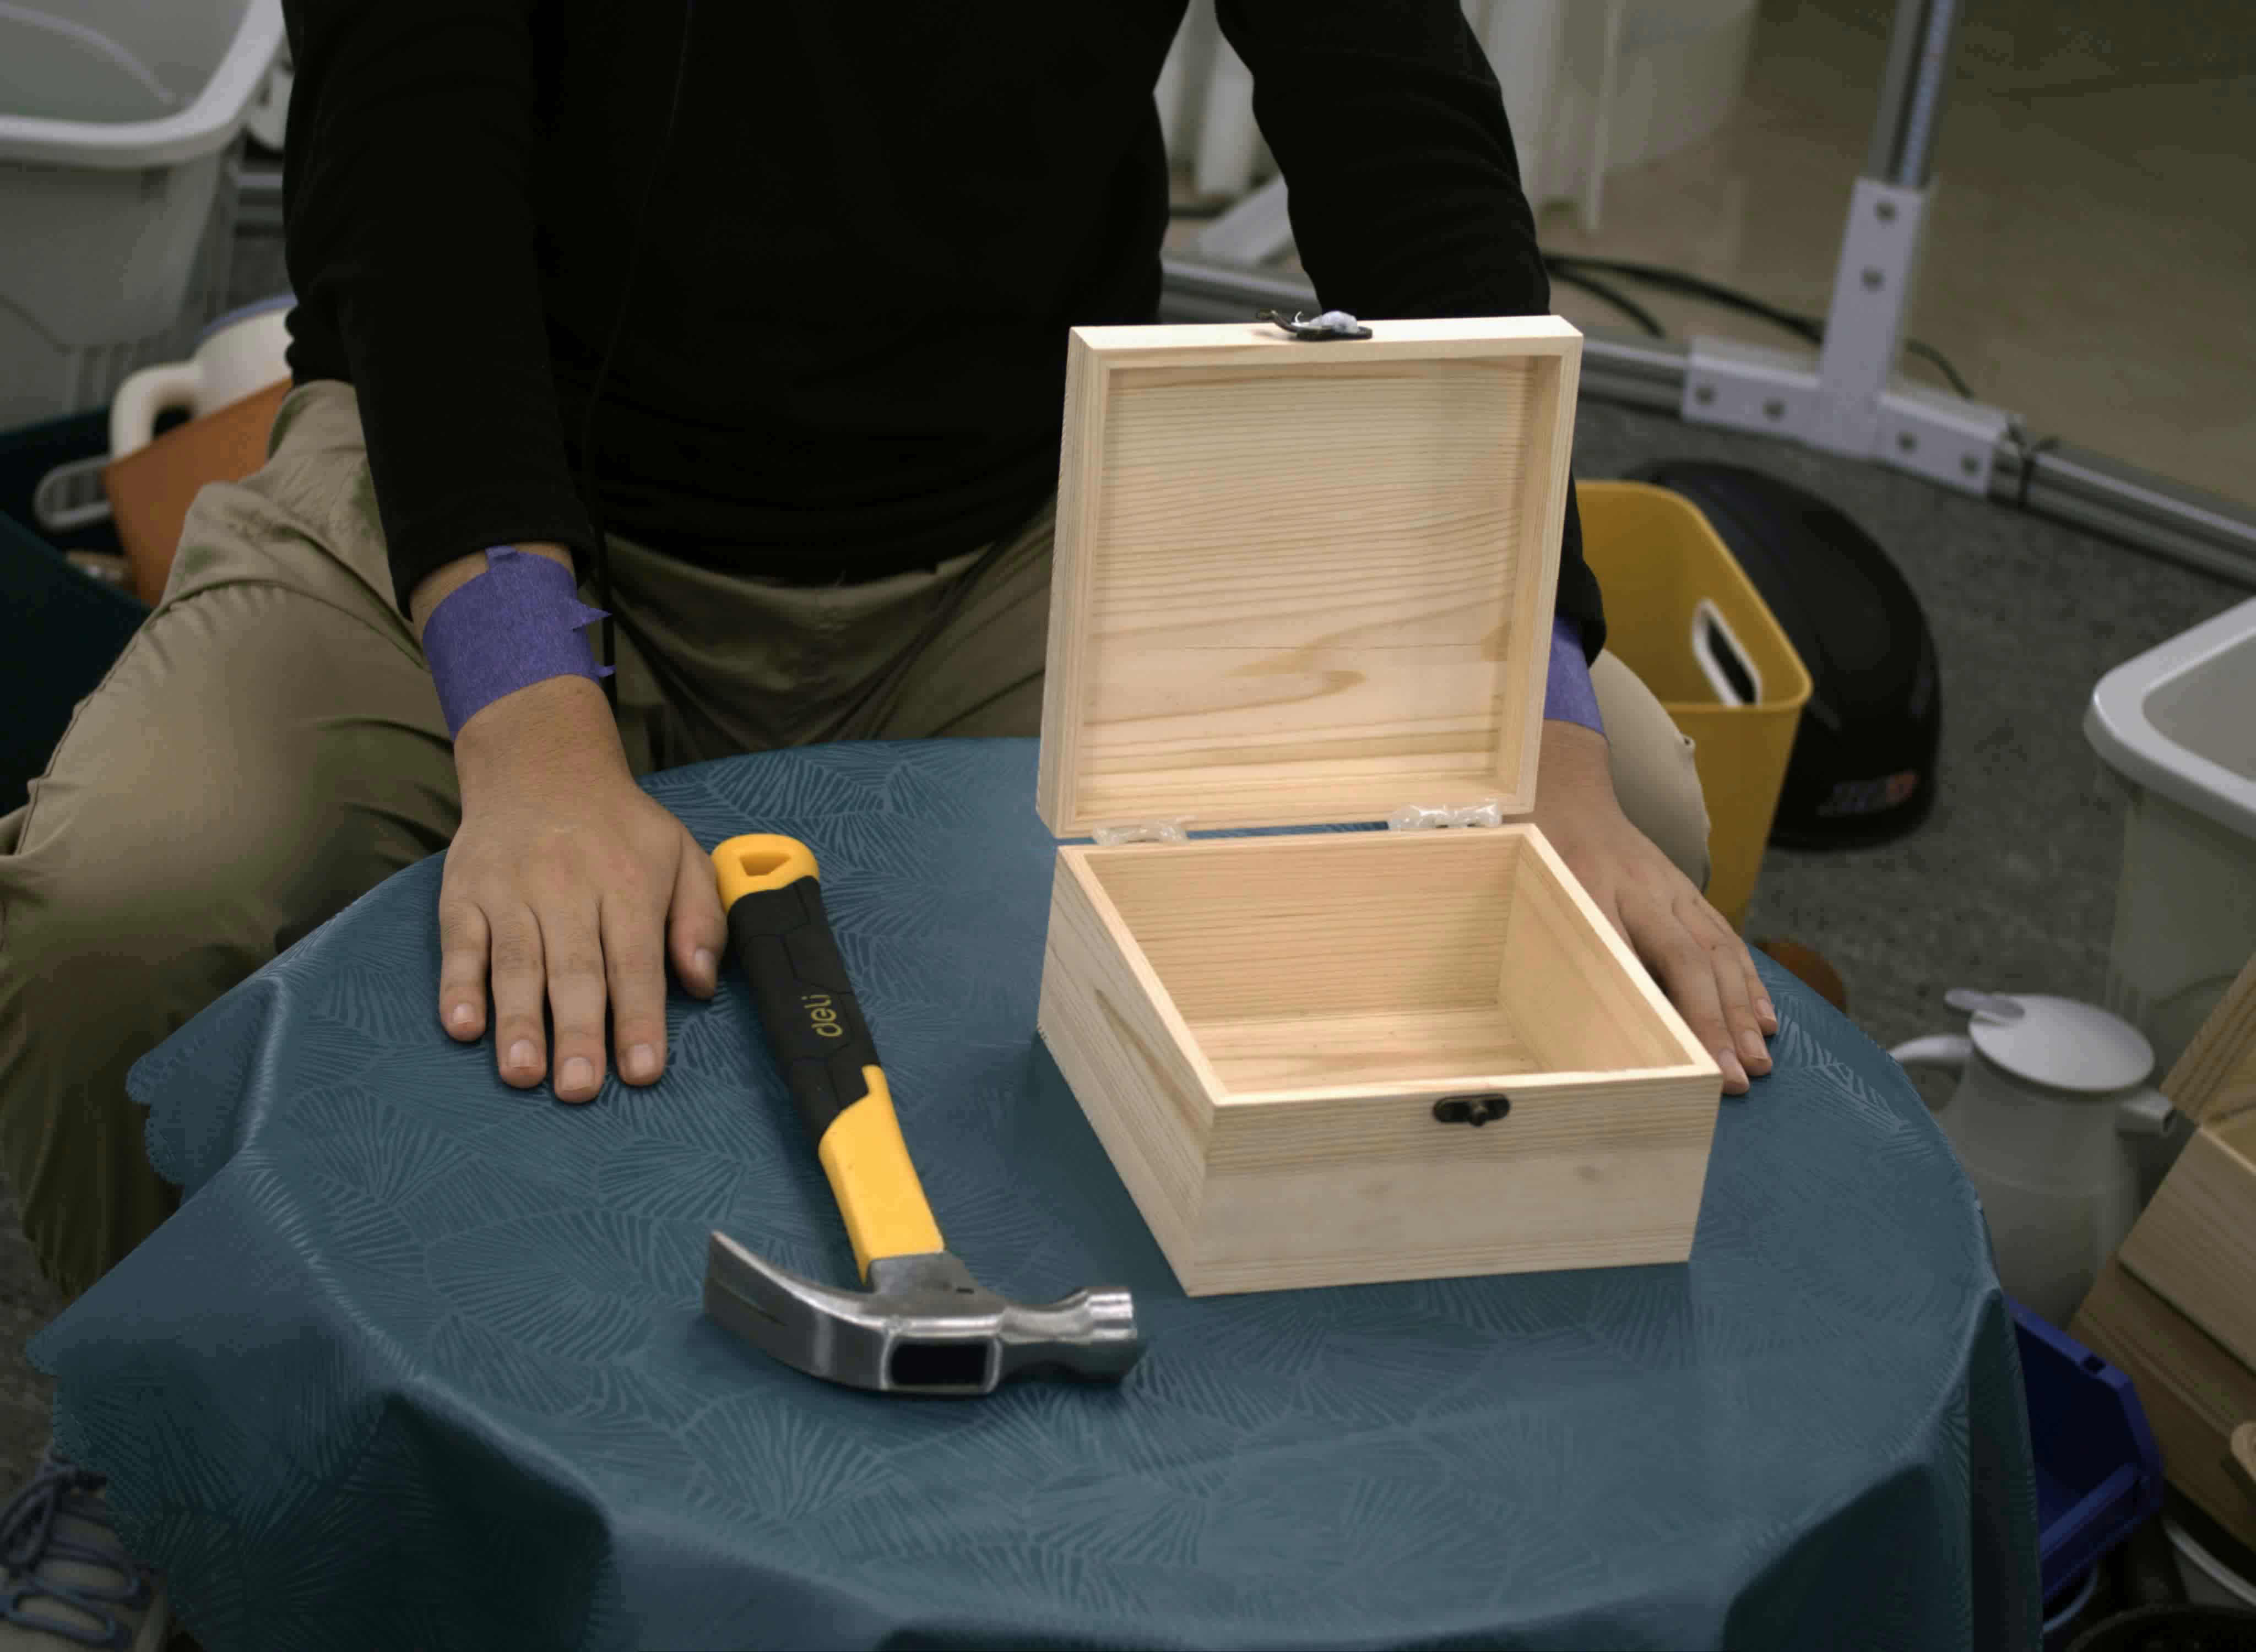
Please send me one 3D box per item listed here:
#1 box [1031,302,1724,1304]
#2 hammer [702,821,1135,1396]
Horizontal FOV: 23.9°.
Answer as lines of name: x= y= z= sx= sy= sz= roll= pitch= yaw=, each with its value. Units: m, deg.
box: x=0.081 y=-0.015 z=1.823 sx=0.181 sy=0.252 sz=0.267 roll=-4 pitch=29 yaw=-17
hammer: x=-0.097 y=0.088 z=1.814 sx=0.130 sy=0.032 sz=0.341 roll=0 pitch=29 yaw=-14
